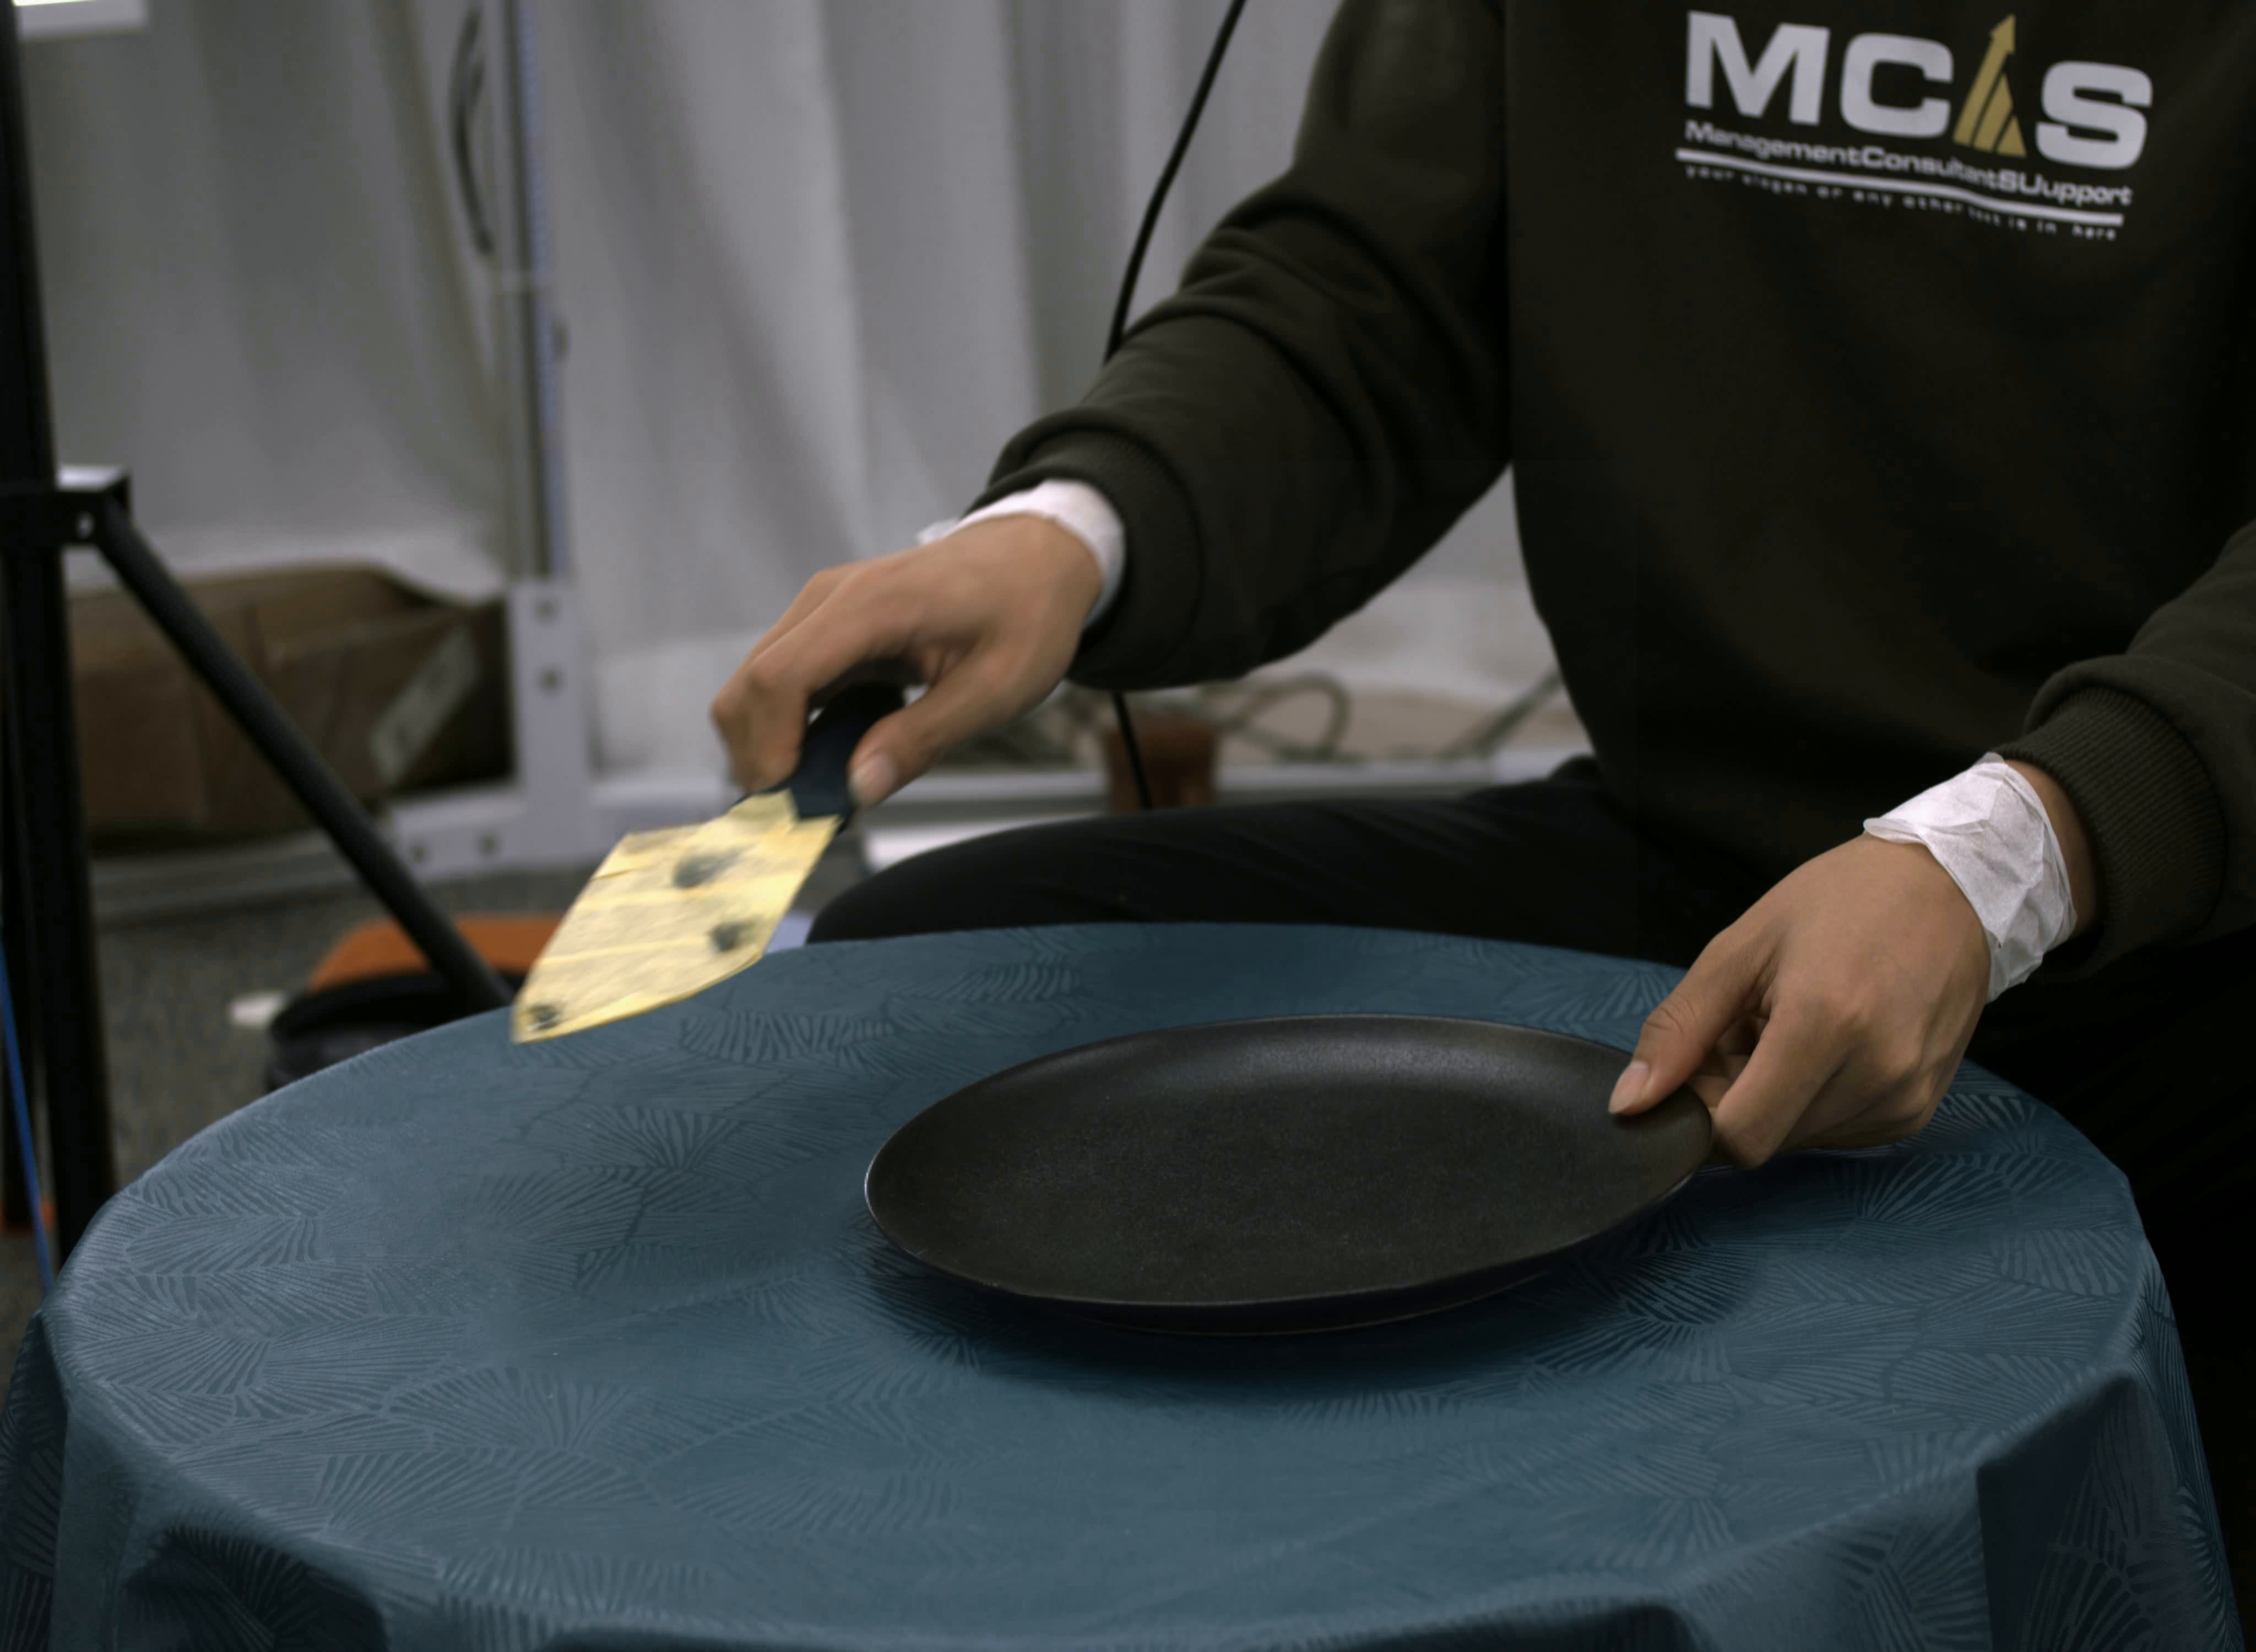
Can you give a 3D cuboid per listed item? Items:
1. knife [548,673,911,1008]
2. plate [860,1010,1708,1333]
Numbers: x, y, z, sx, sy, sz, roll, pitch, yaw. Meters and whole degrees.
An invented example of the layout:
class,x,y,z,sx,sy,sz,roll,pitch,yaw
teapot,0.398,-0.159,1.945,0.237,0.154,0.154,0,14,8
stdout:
class,x,y,z,sx,sy,sz,roll,pitch,yaw
knife,-0.117,0.005,1.624,0.081,0.027,0.288,-6,17,14
plate,0.045,0.101,1.517,0.243,0.023,0.245,-6,16,0
